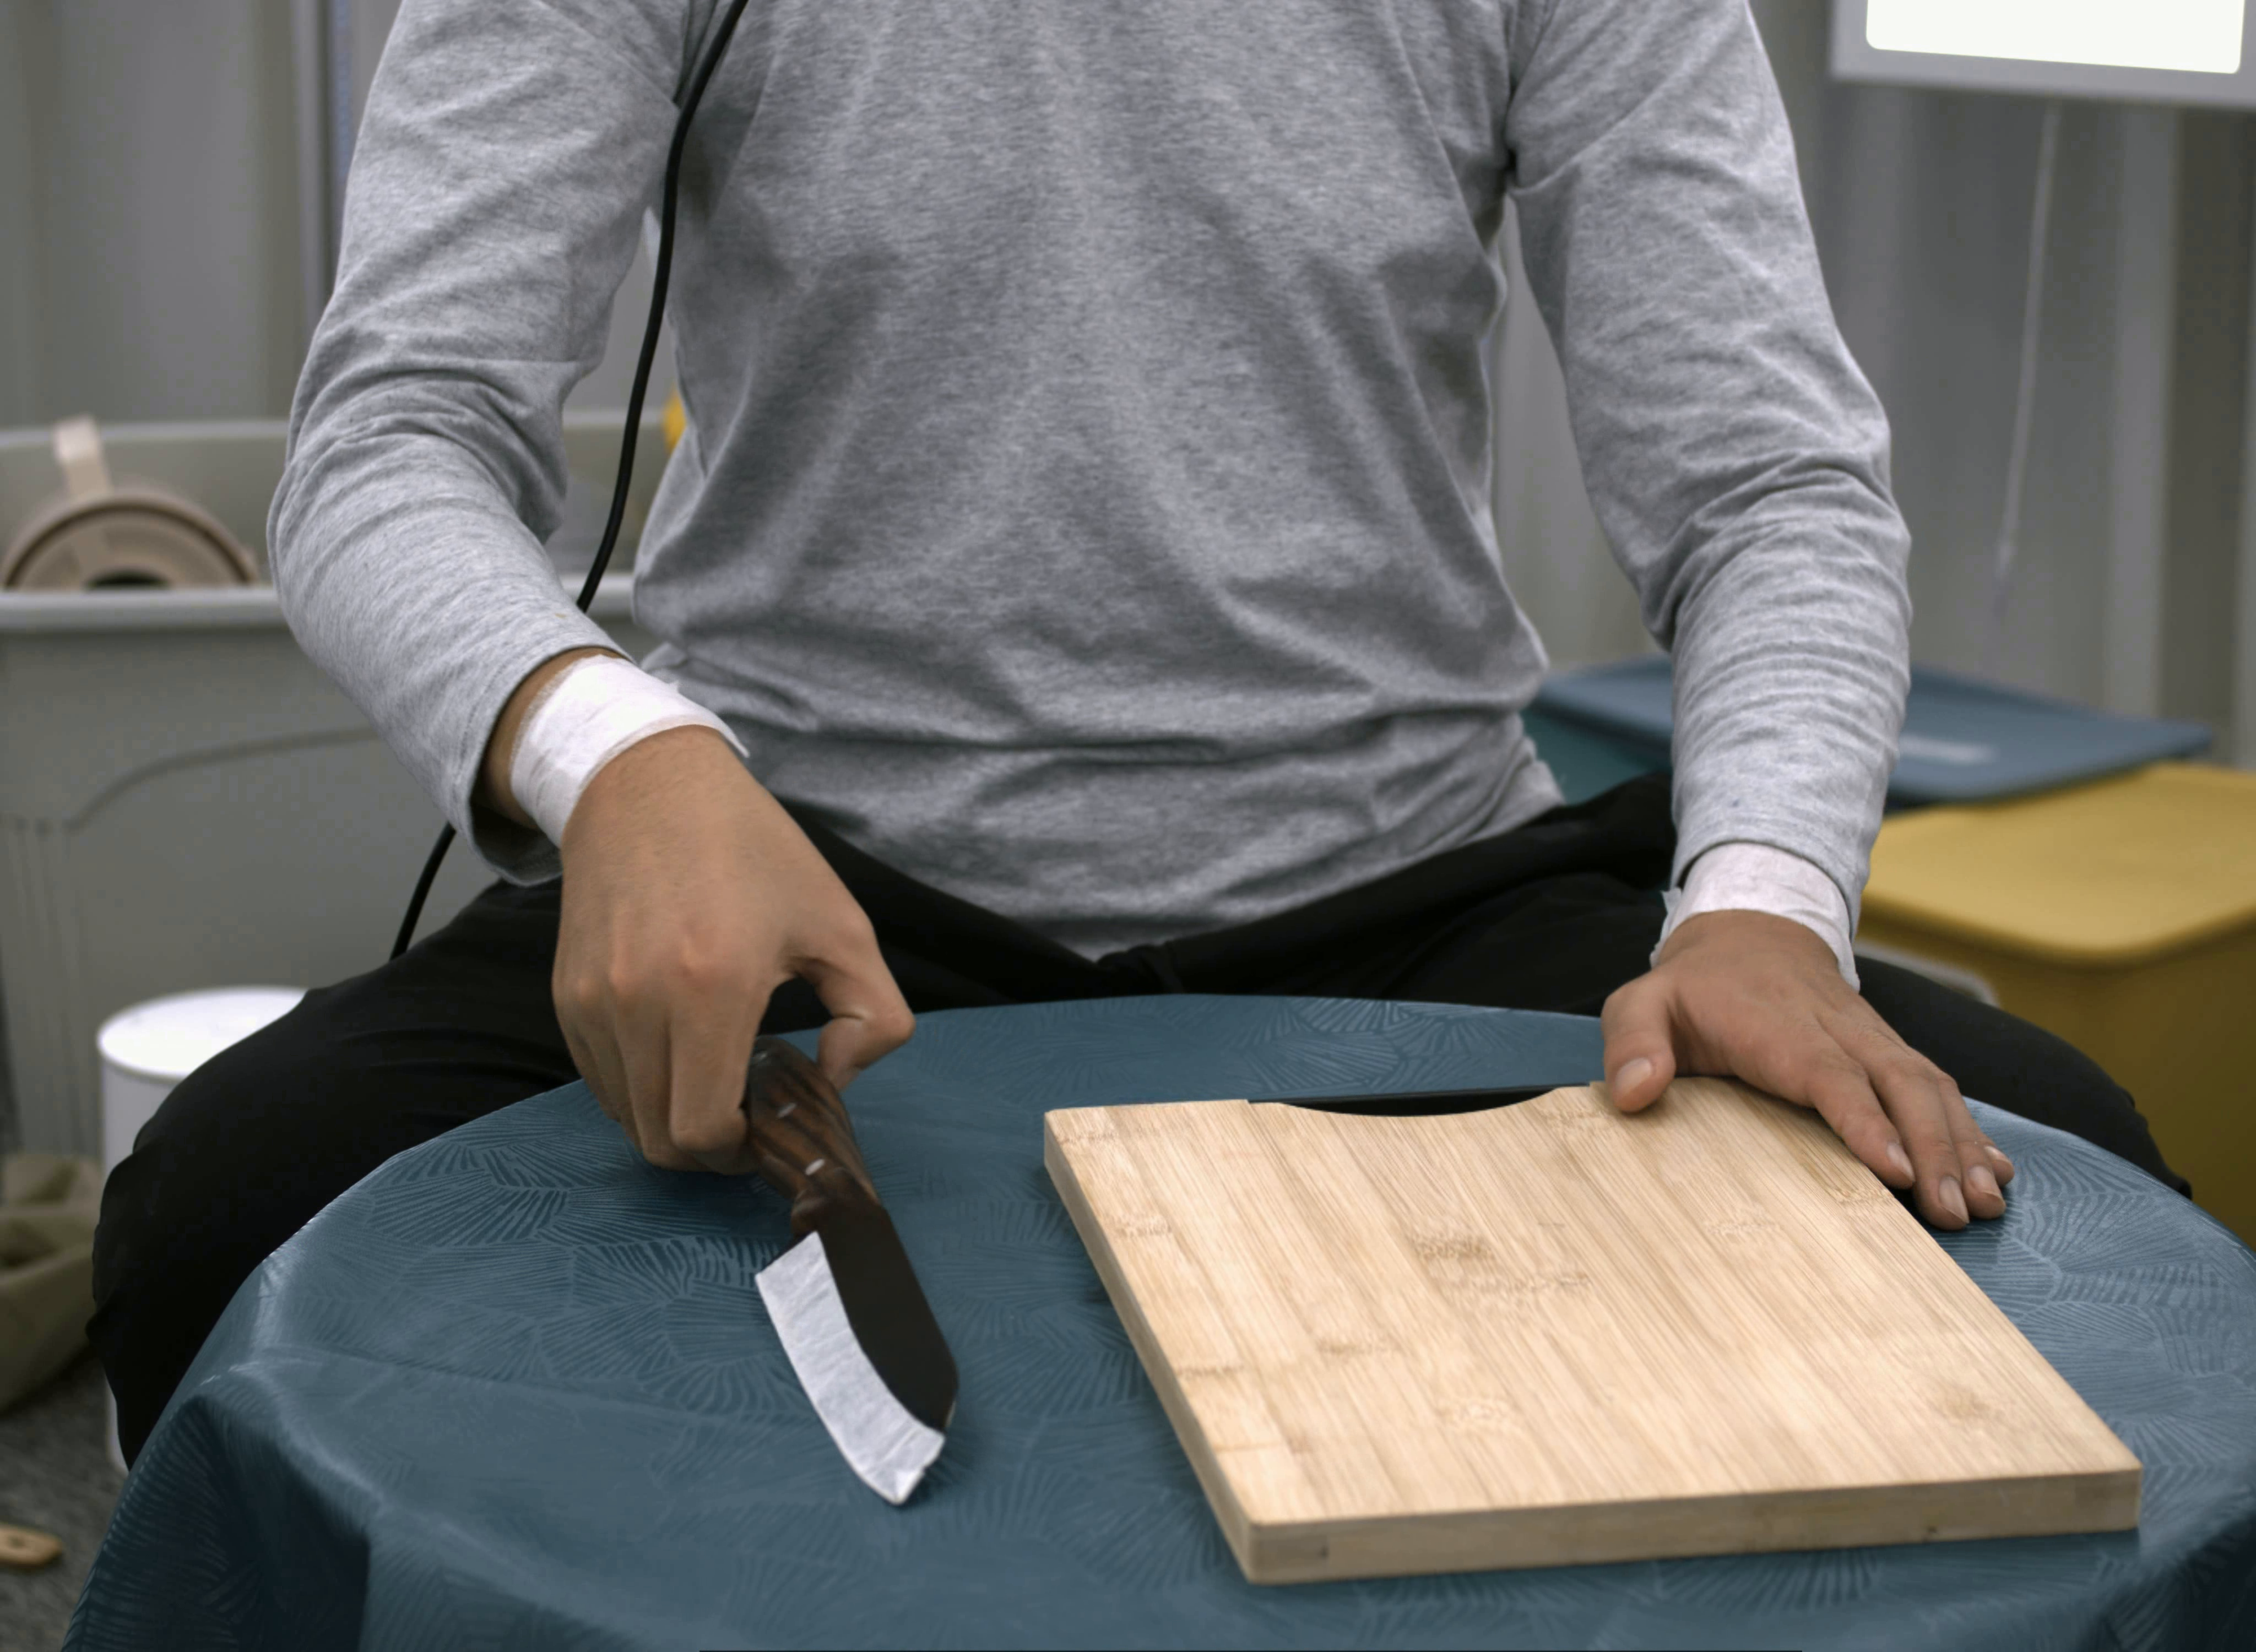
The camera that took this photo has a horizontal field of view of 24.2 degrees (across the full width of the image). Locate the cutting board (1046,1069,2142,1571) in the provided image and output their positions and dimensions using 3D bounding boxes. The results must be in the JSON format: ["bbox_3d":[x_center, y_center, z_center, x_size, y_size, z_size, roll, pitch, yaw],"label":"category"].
[{"bbox_3d":[0.119,0.135,1.516,0.251,0.024,0.345,-2,15,-10],"label":"cutting board"}]

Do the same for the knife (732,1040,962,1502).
[{"bbox_3d":[-0.084,0.124,1.508,0.050,0.020,0.286,-37,23,4],"label":"knife"}]
